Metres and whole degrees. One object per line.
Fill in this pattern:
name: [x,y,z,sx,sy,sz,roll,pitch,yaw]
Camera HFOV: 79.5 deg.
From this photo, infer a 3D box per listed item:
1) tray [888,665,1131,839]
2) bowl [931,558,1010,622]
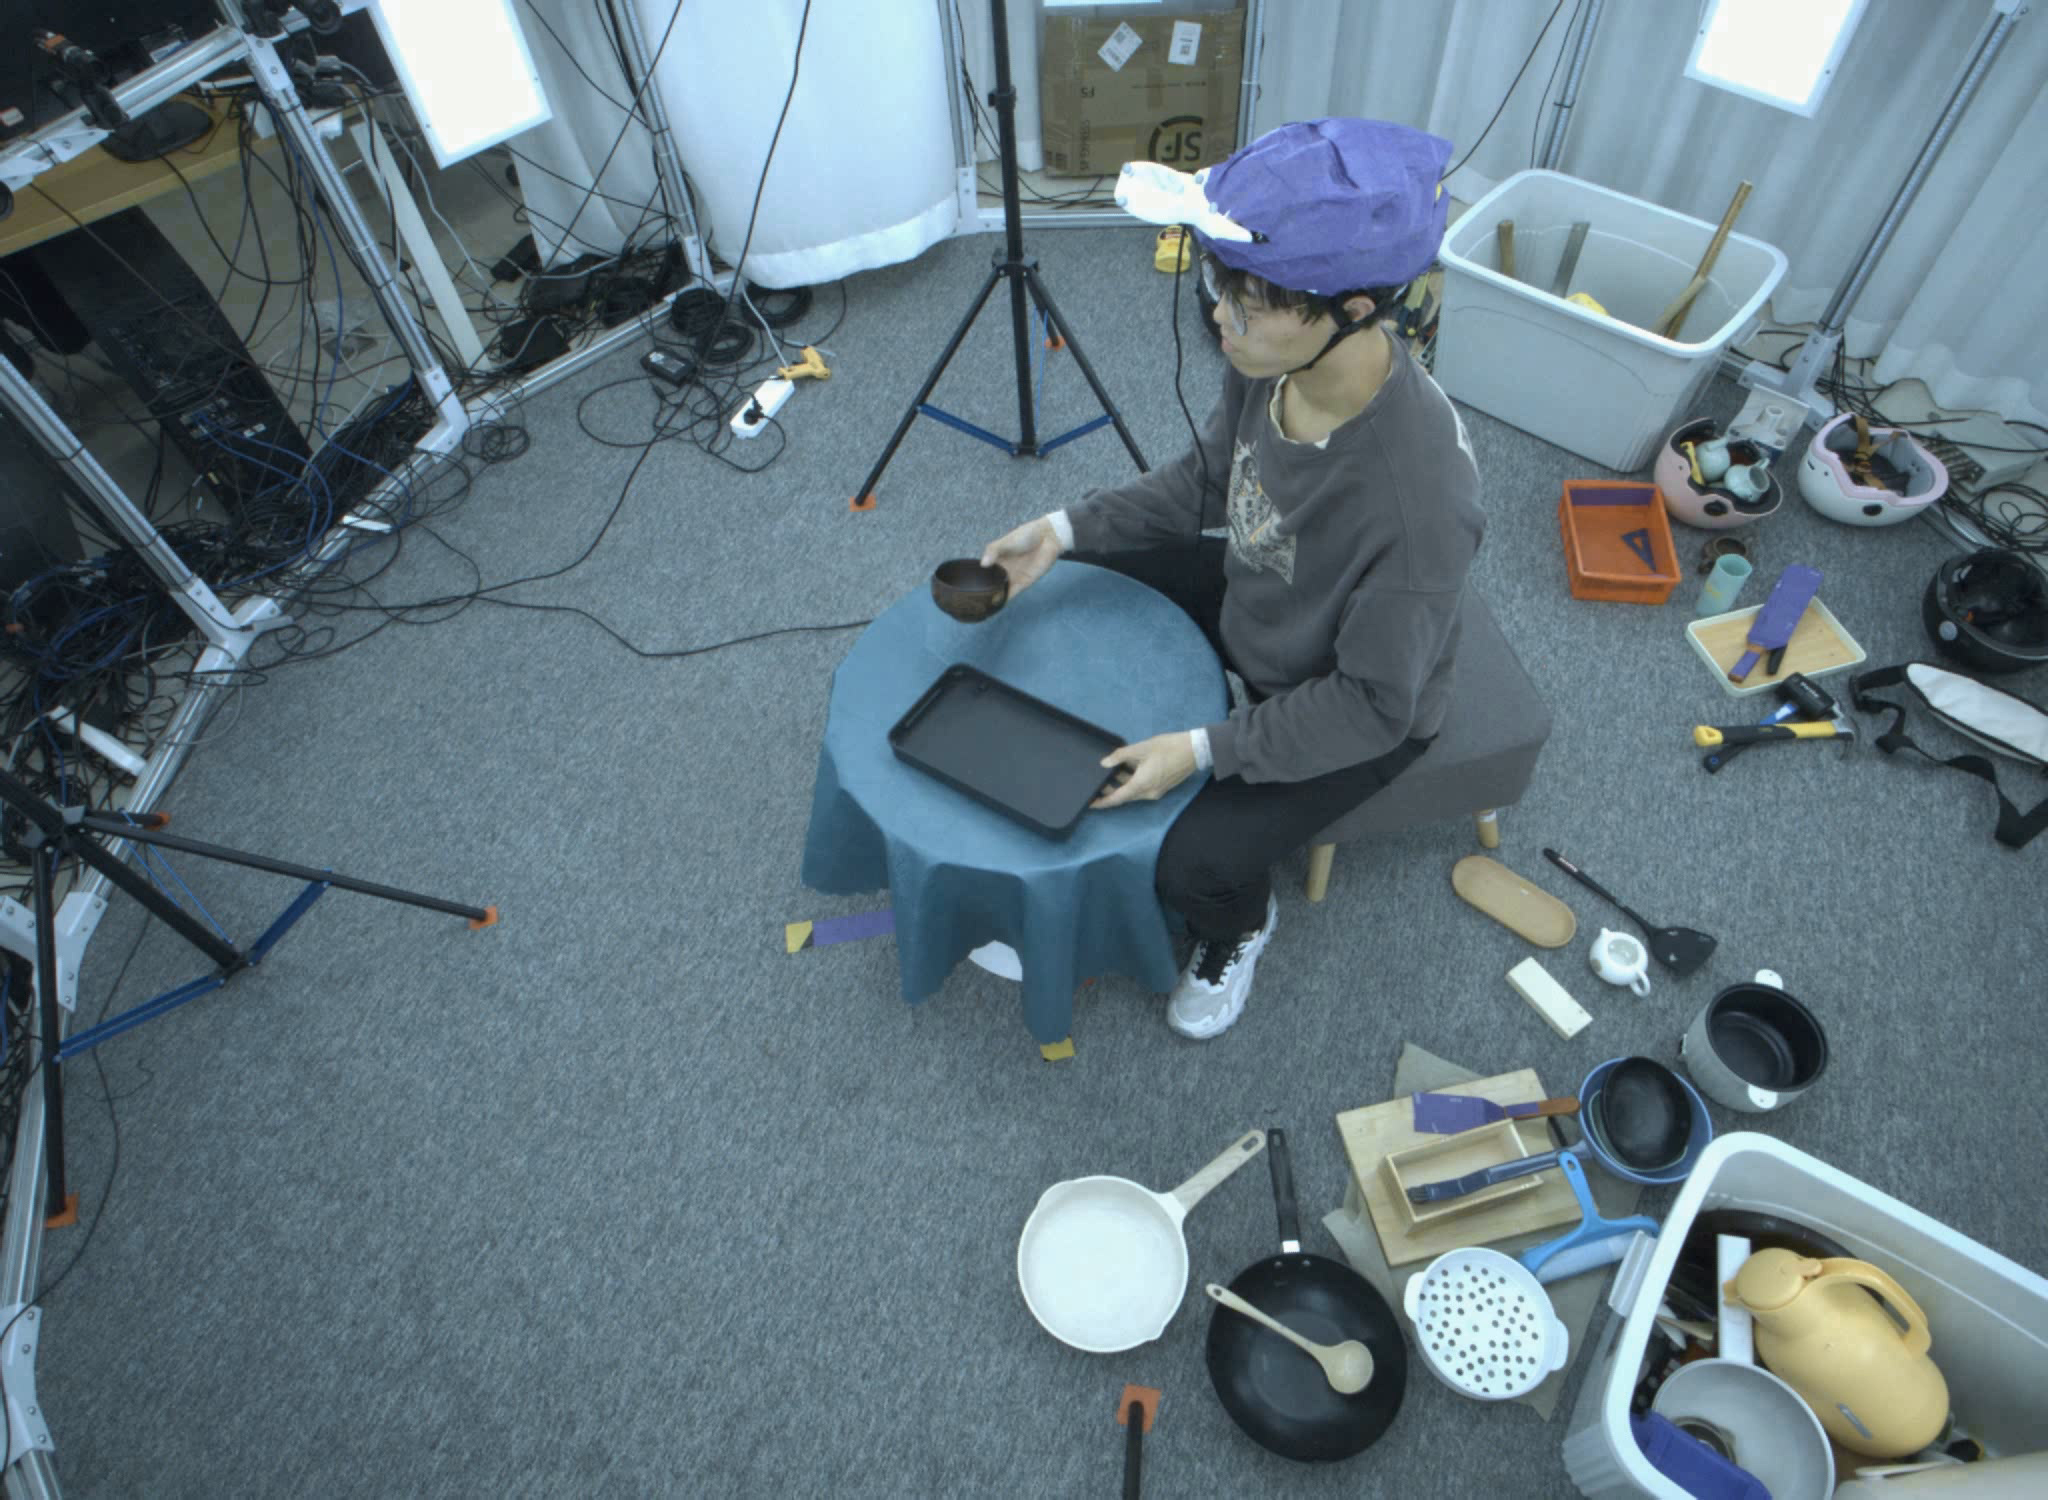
tray: [-0.021,-0.001,1.756,0.313,0.037,0.185,24,57,22]
bowl: [-0.081,-0.233,1.830,0.118,0.070,0.117,4,32,-1]
